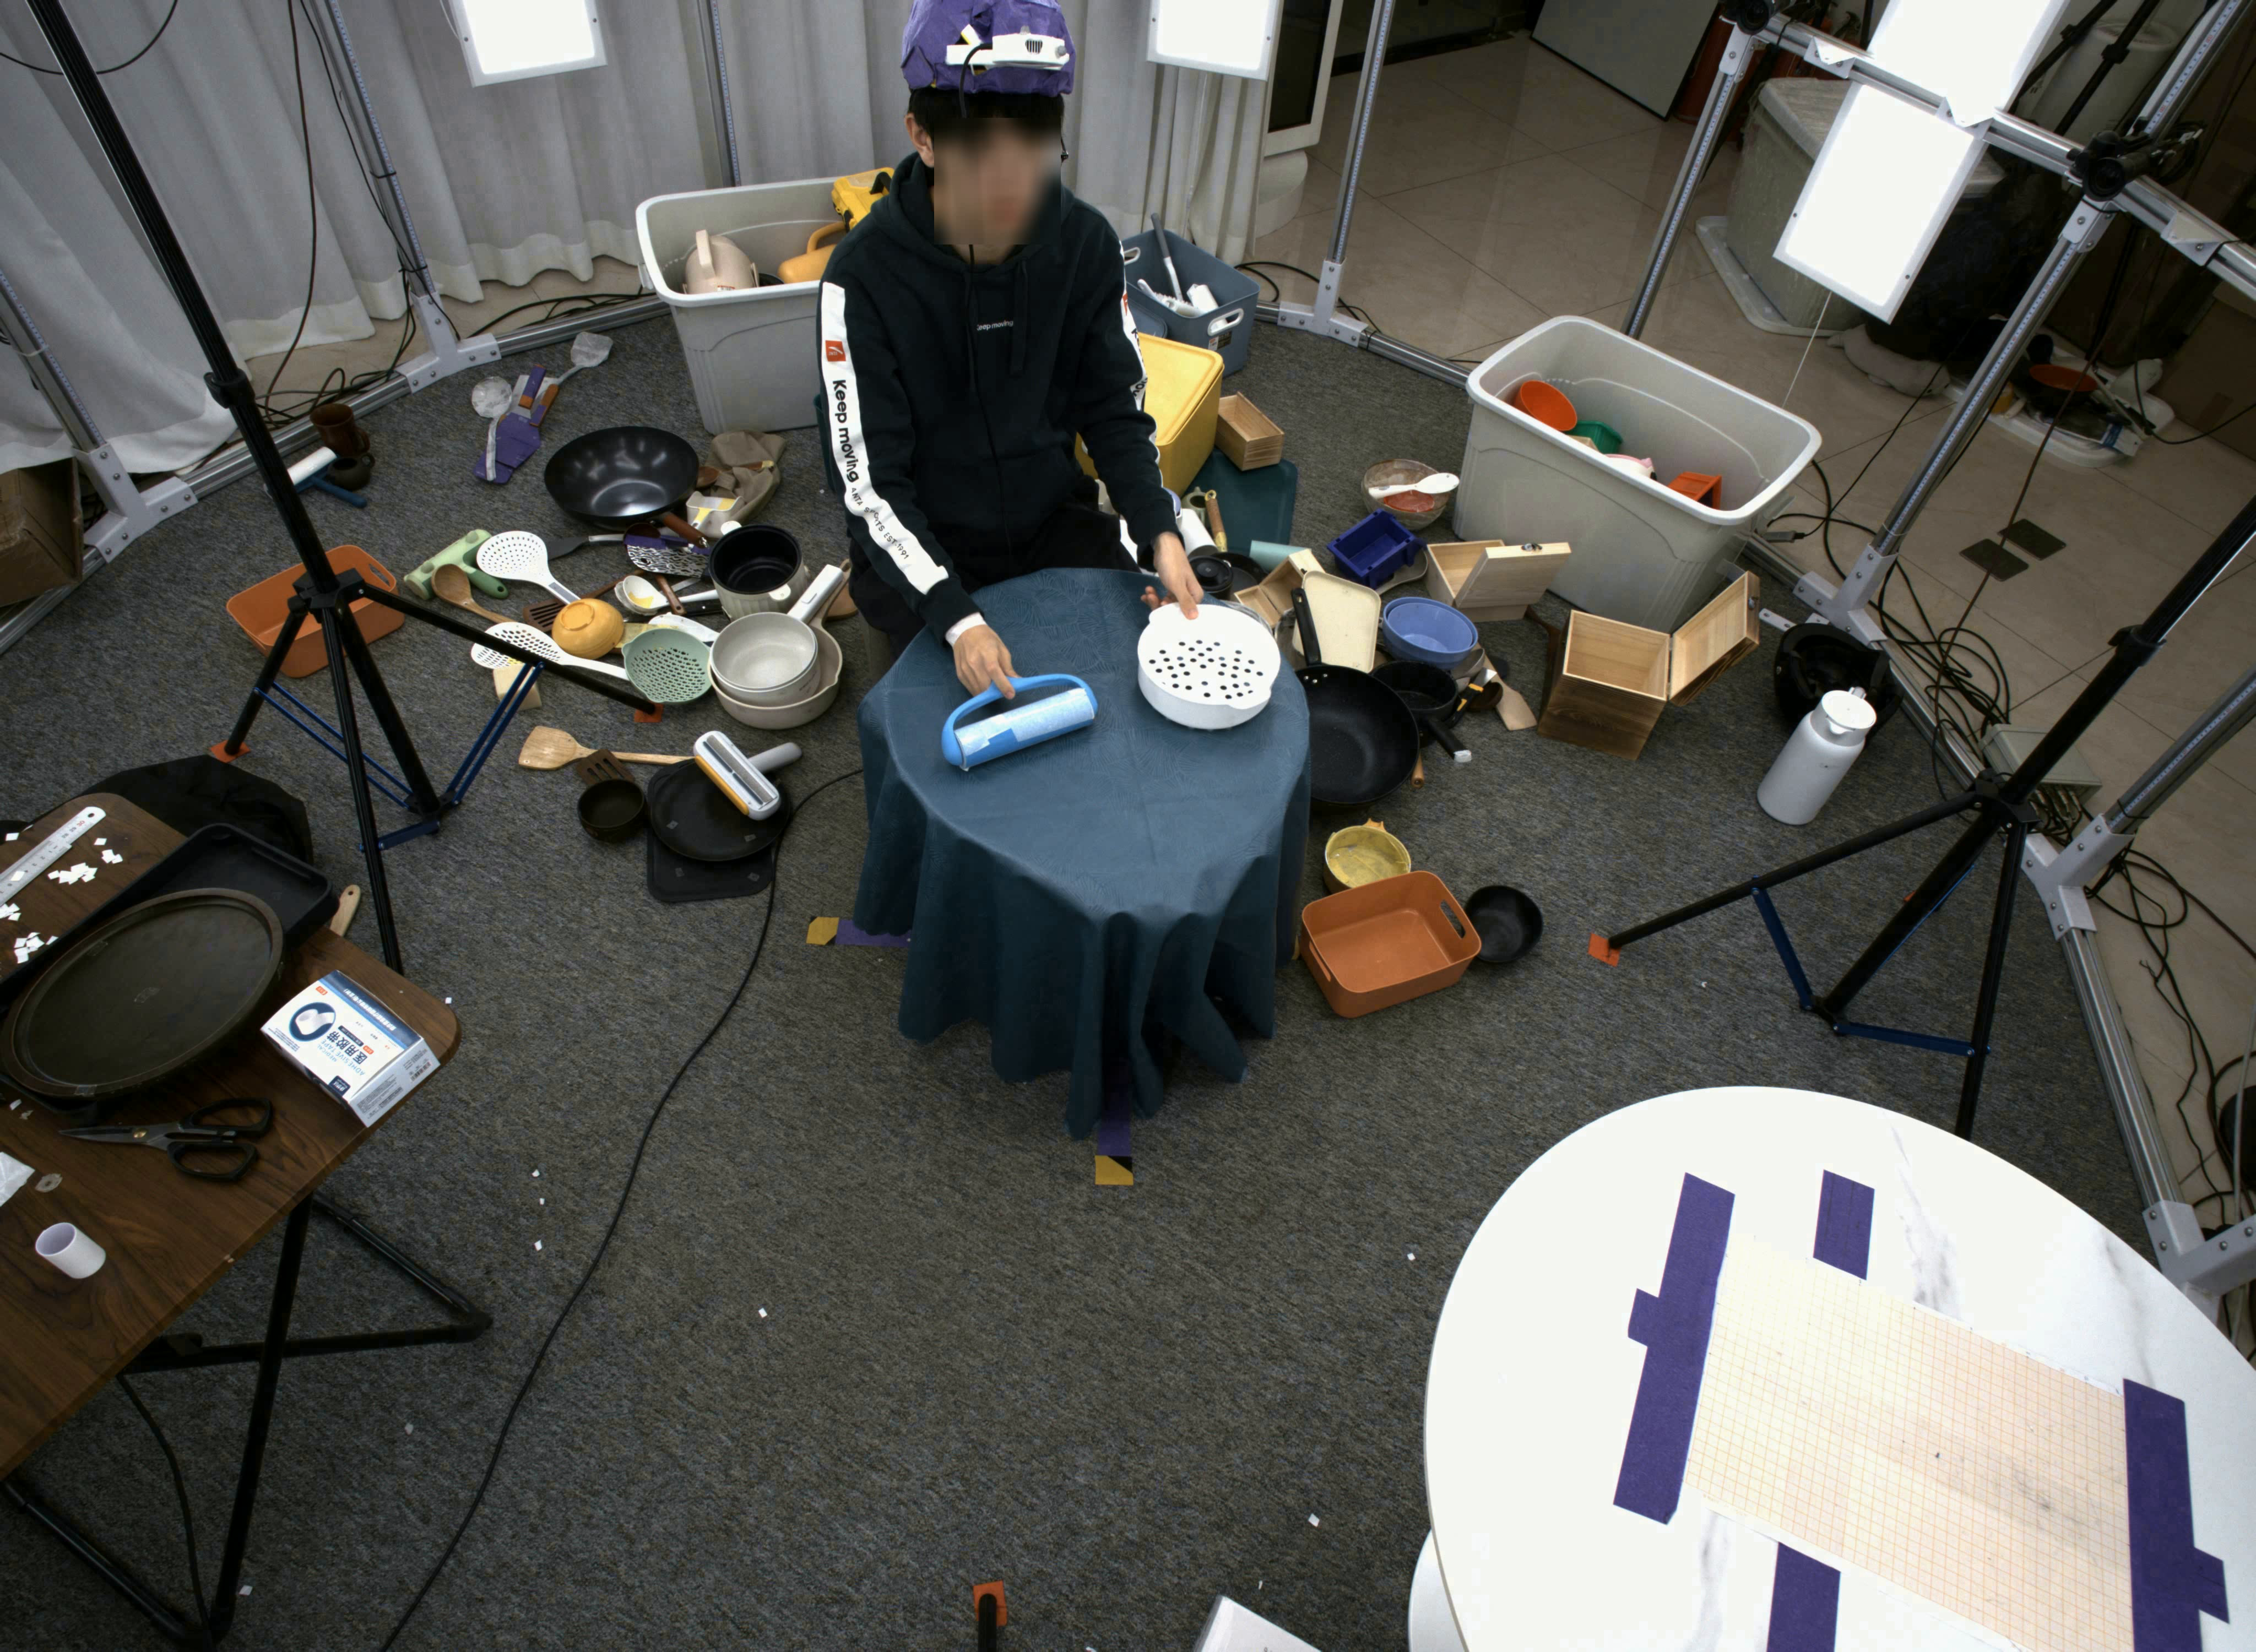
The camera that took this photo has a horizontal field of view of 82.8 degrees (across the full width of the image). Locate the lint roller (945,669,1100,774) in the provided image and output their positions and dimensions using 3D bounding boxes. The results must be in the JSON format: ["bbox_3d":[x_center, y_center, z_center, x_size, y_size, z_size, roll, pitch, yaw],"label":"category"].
[{"bbox_3d":[-0.172,-0.171,1.770,0.230,0.066,0.184,-26,56,-21],"label":"lint roller"}]

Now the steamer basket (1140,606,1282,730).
[{"bbox_3d":[0.115,-0.222,1.824,0.202,0.067,0.235,-24,54,-23],"label":"steamer basket"}]
